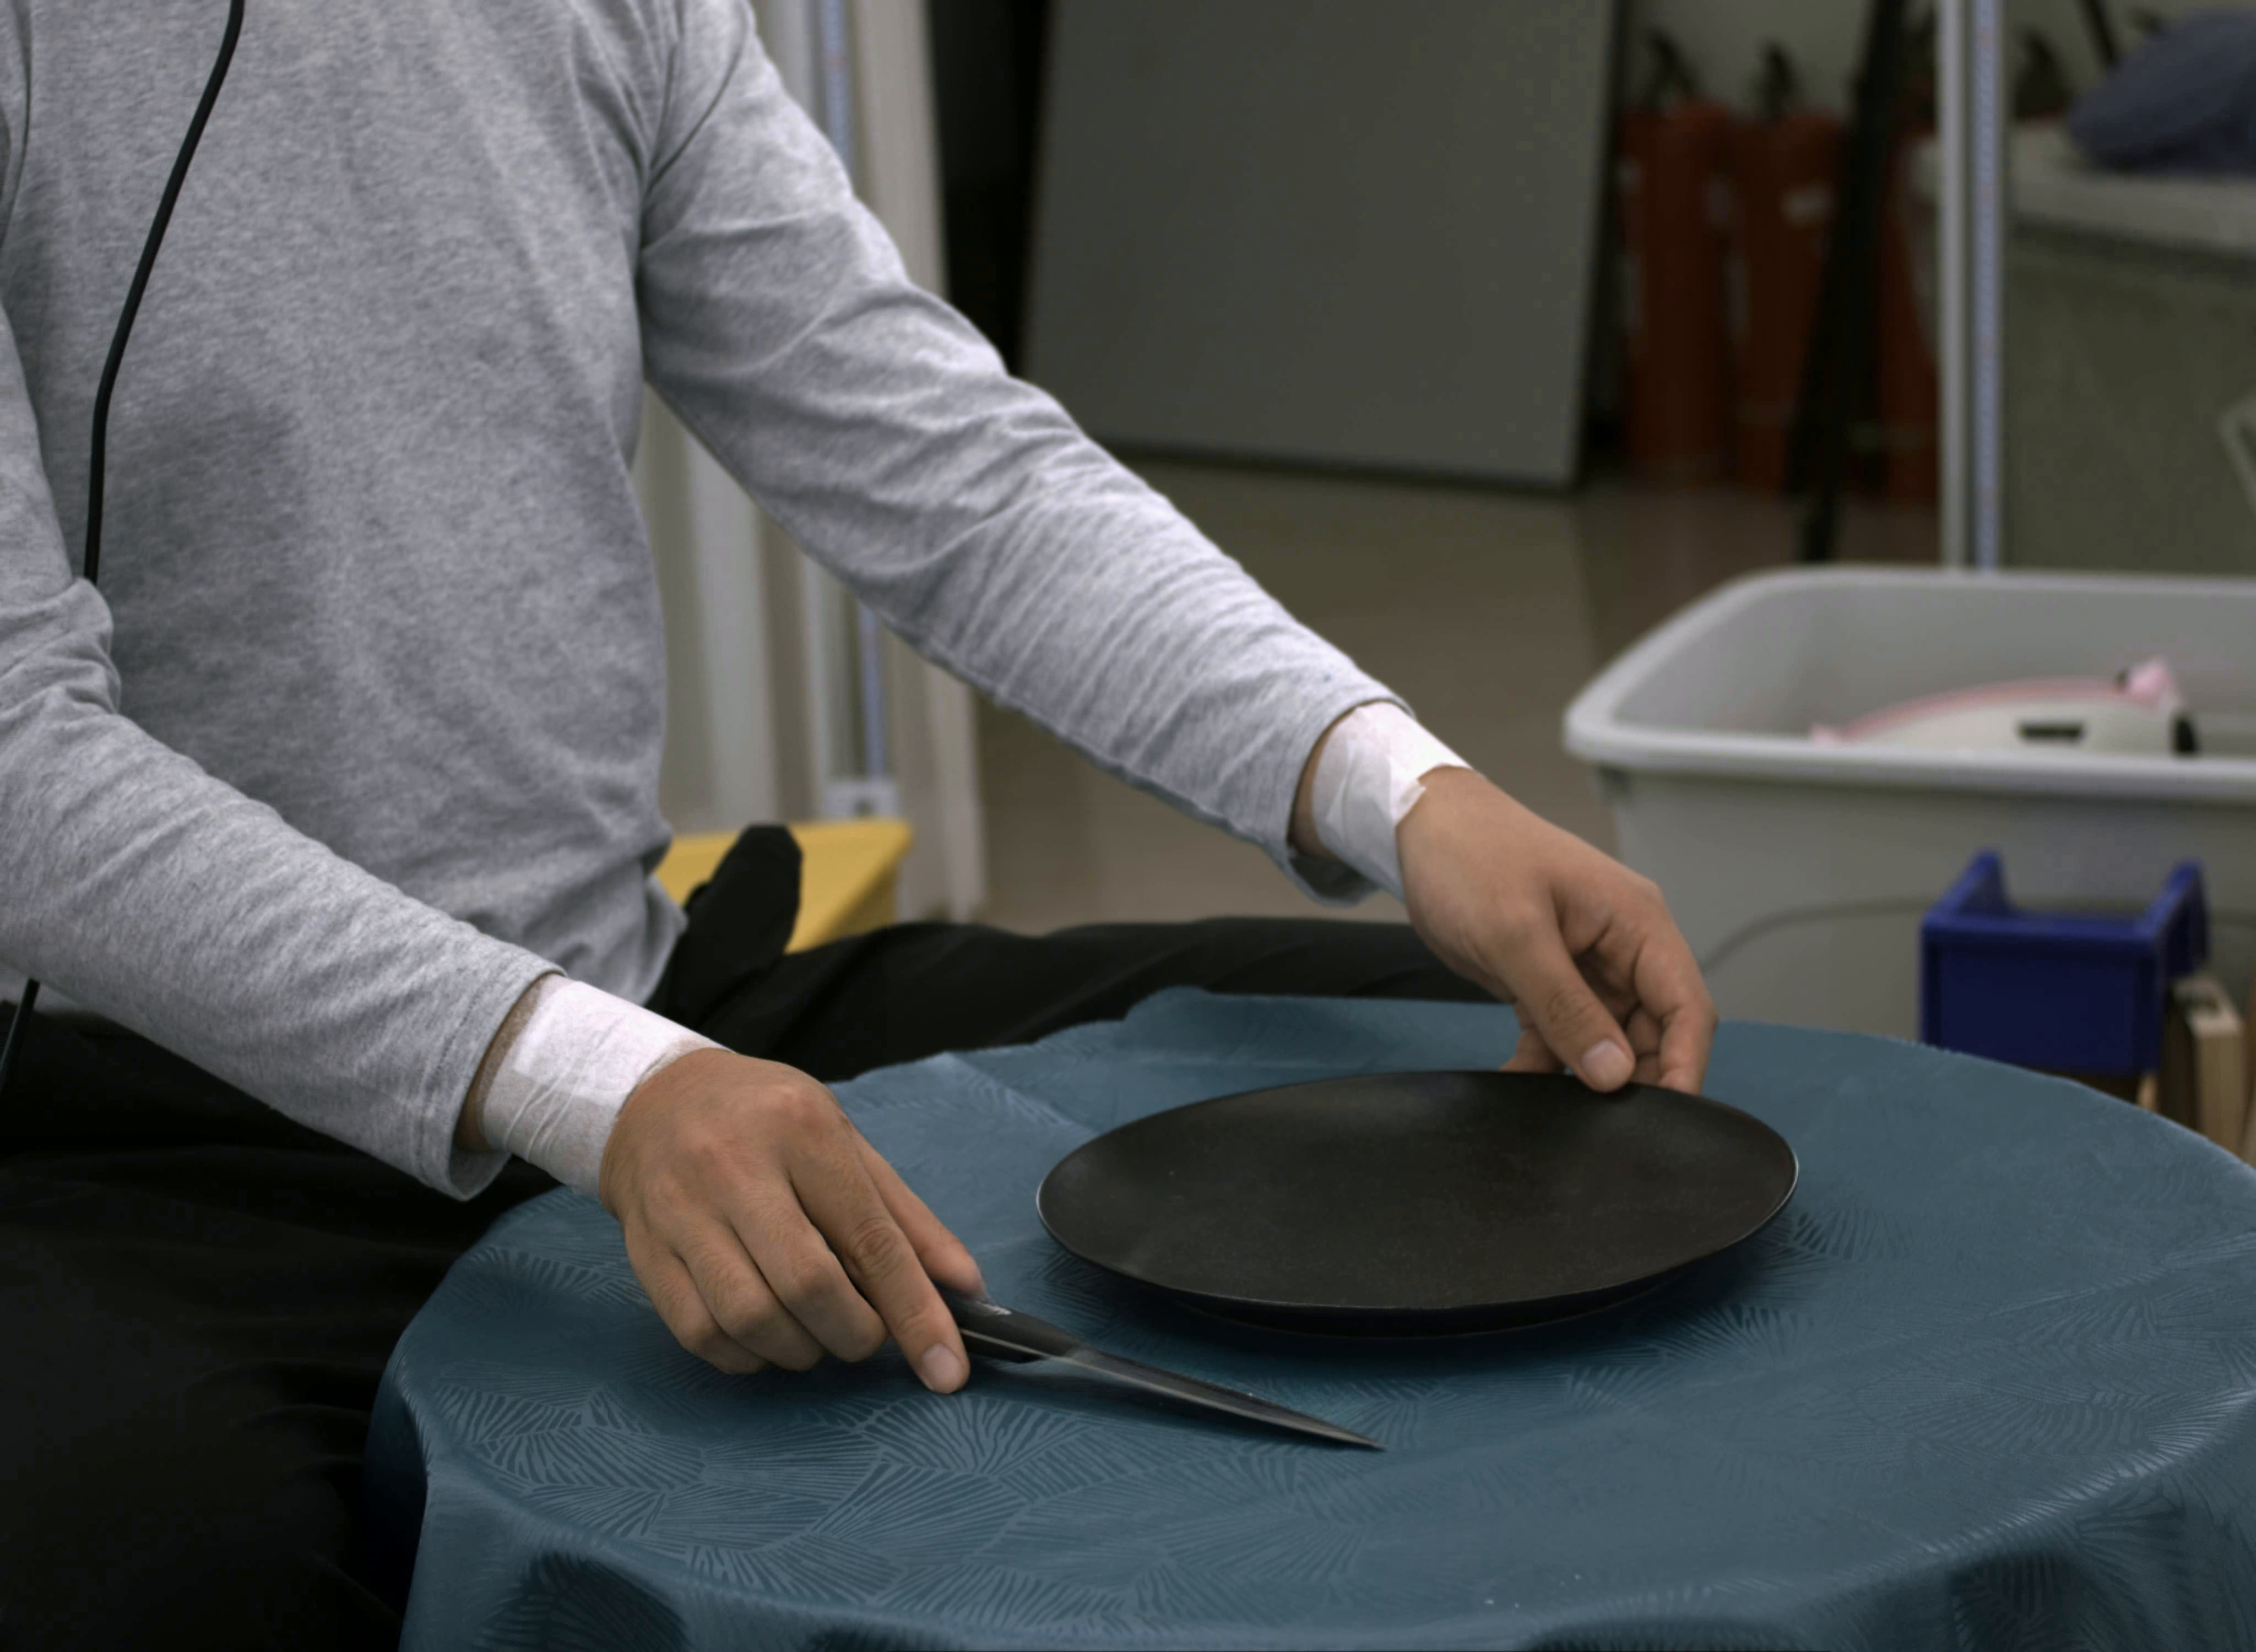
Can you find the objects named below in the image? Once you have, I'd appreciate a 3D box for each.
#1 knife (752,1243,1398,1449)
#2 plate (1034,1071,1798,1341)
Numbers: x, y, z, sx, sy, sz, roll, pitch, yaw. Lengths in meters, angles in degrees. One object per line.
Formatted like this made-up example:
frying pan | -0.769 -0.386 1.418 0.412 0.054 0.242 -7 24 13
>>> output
knife | -0.020 0.156 1.593 0.240 0.016 0.024 12 13 35
plate | 0.091 0.122 1.698 0.241 0.024 0.245 -4 13 0
